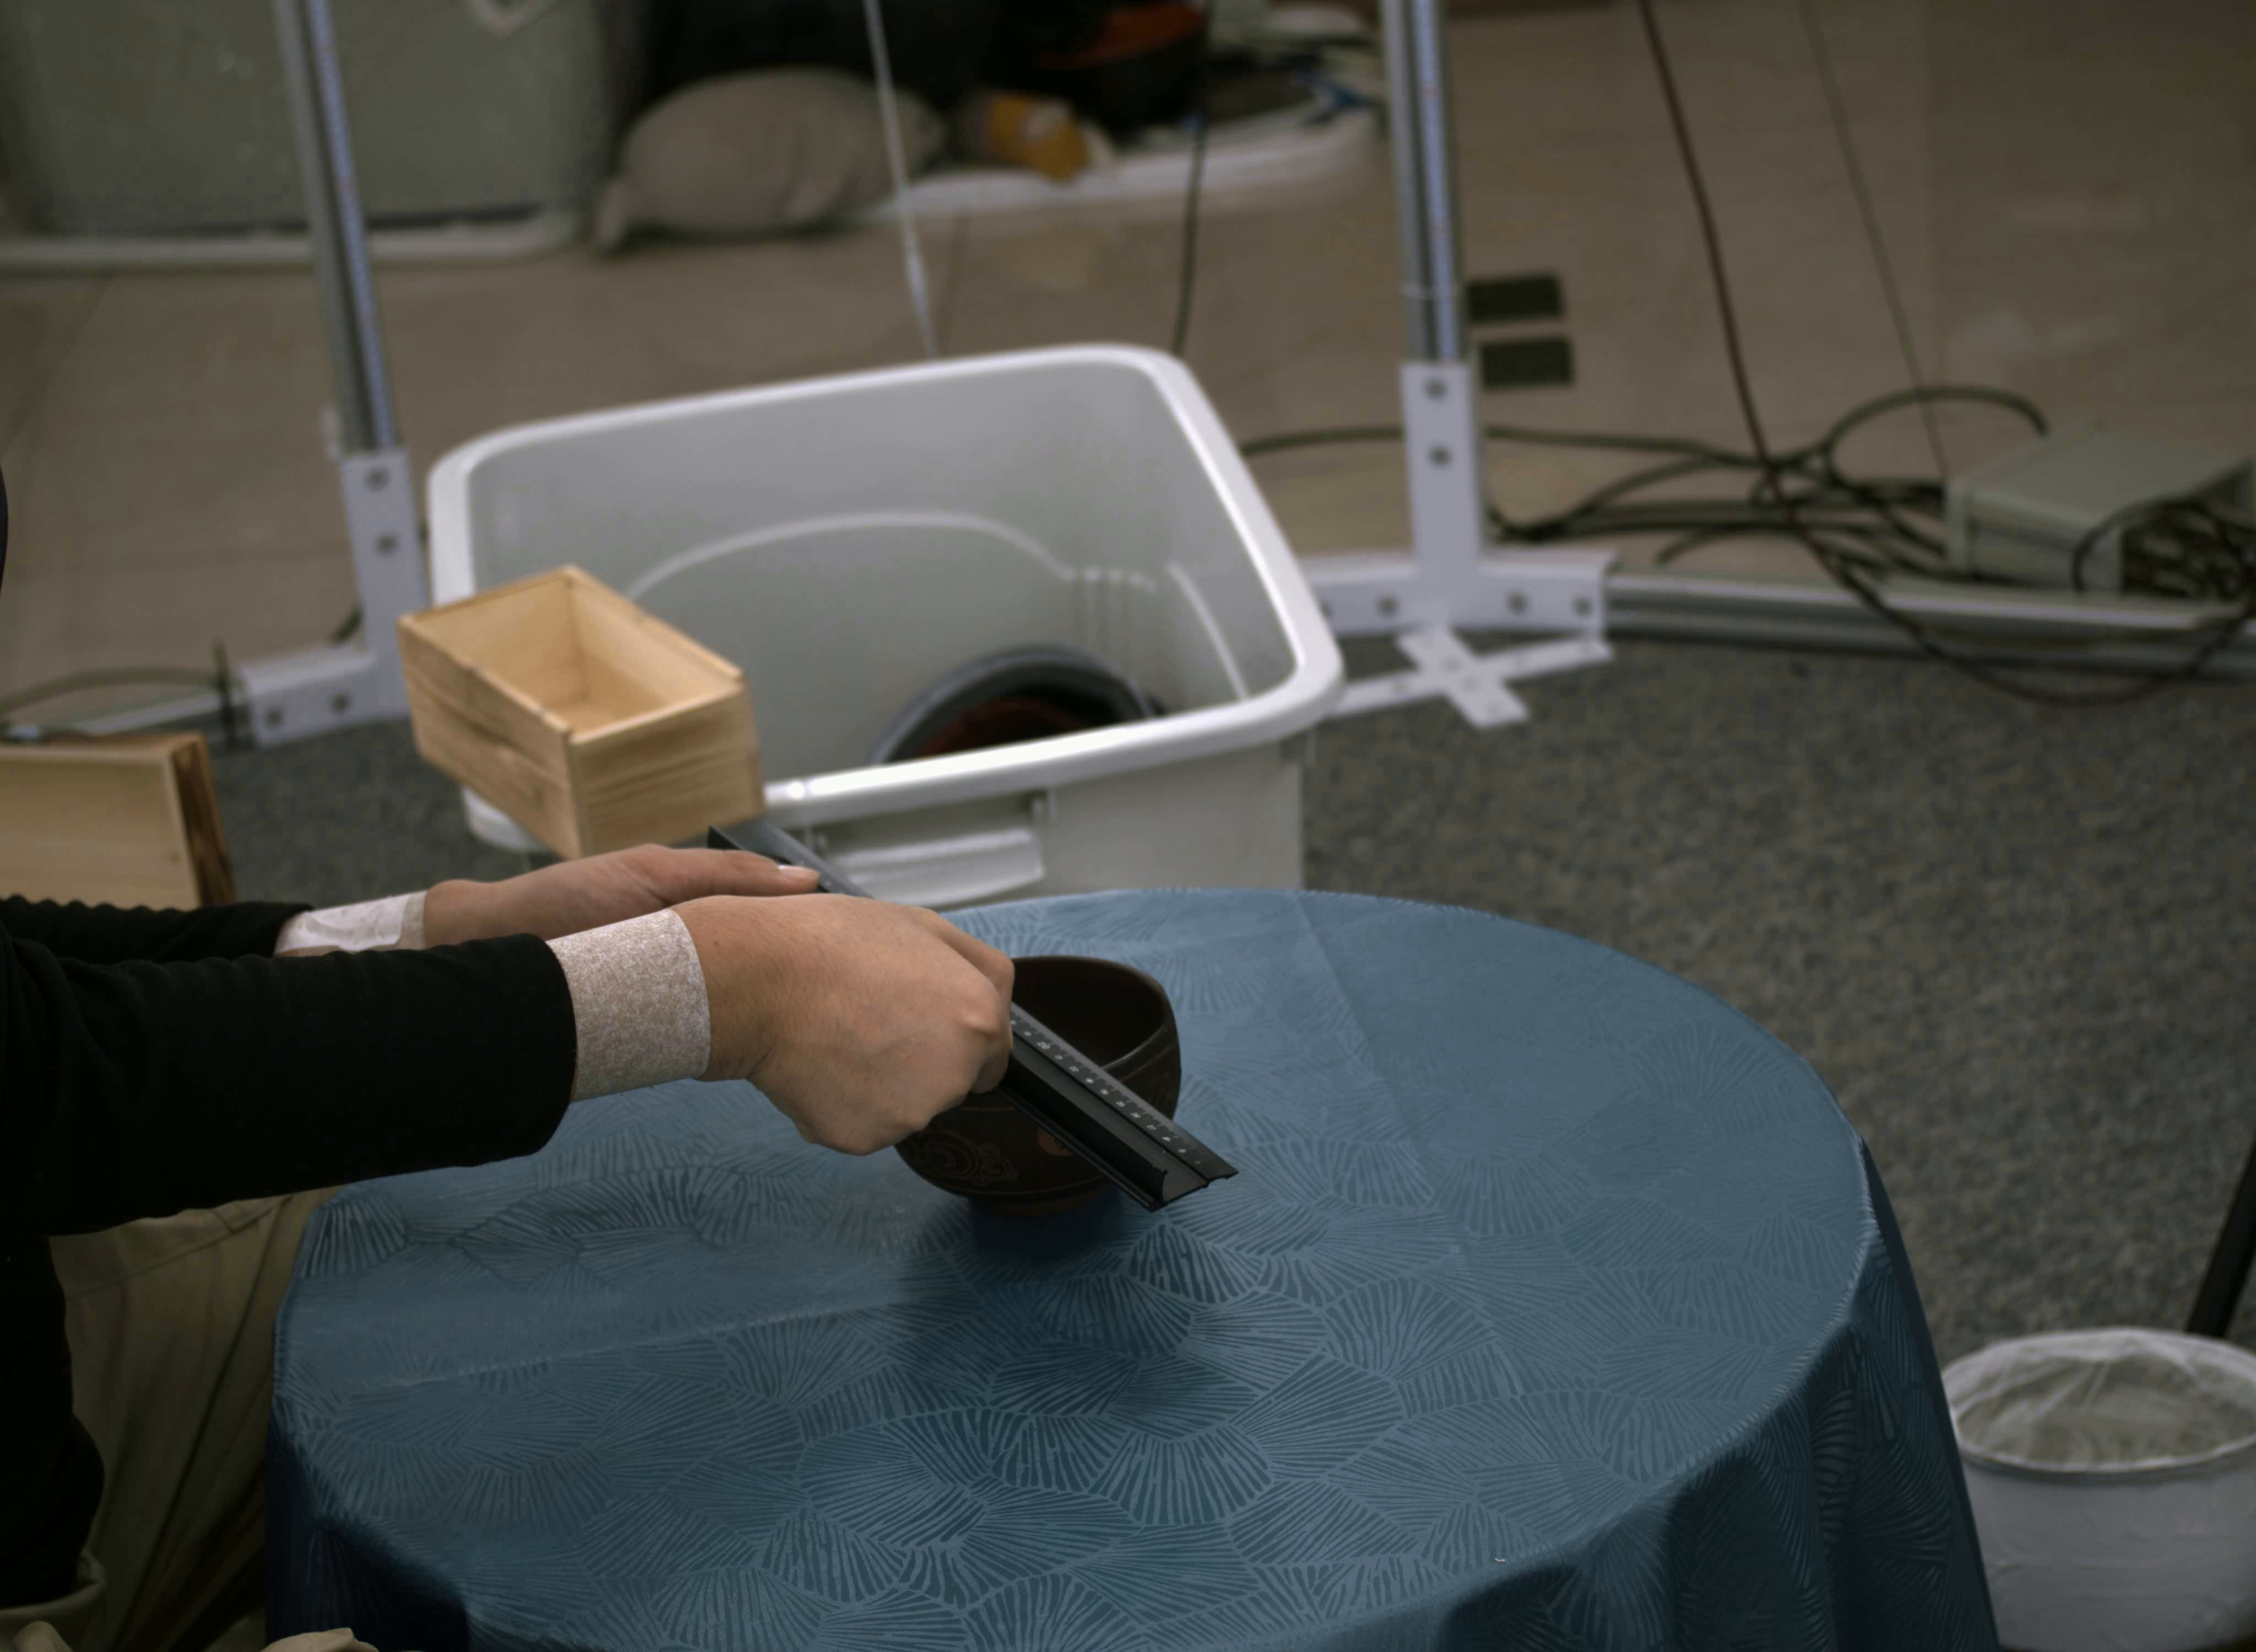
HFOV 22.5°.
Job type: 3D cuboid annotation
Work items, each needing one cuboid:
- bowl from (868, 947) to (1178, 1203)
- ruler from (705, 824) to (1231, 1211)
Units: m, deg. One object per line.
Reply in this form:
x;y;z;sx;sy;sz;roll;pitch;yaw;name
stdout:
-0.040;0.100;2.145;0.118;0.071;0.116;0;23;0;bowl
-0.064;0.062;2.099;0.039;0.017;0.309;-22;36;-27;ruler
